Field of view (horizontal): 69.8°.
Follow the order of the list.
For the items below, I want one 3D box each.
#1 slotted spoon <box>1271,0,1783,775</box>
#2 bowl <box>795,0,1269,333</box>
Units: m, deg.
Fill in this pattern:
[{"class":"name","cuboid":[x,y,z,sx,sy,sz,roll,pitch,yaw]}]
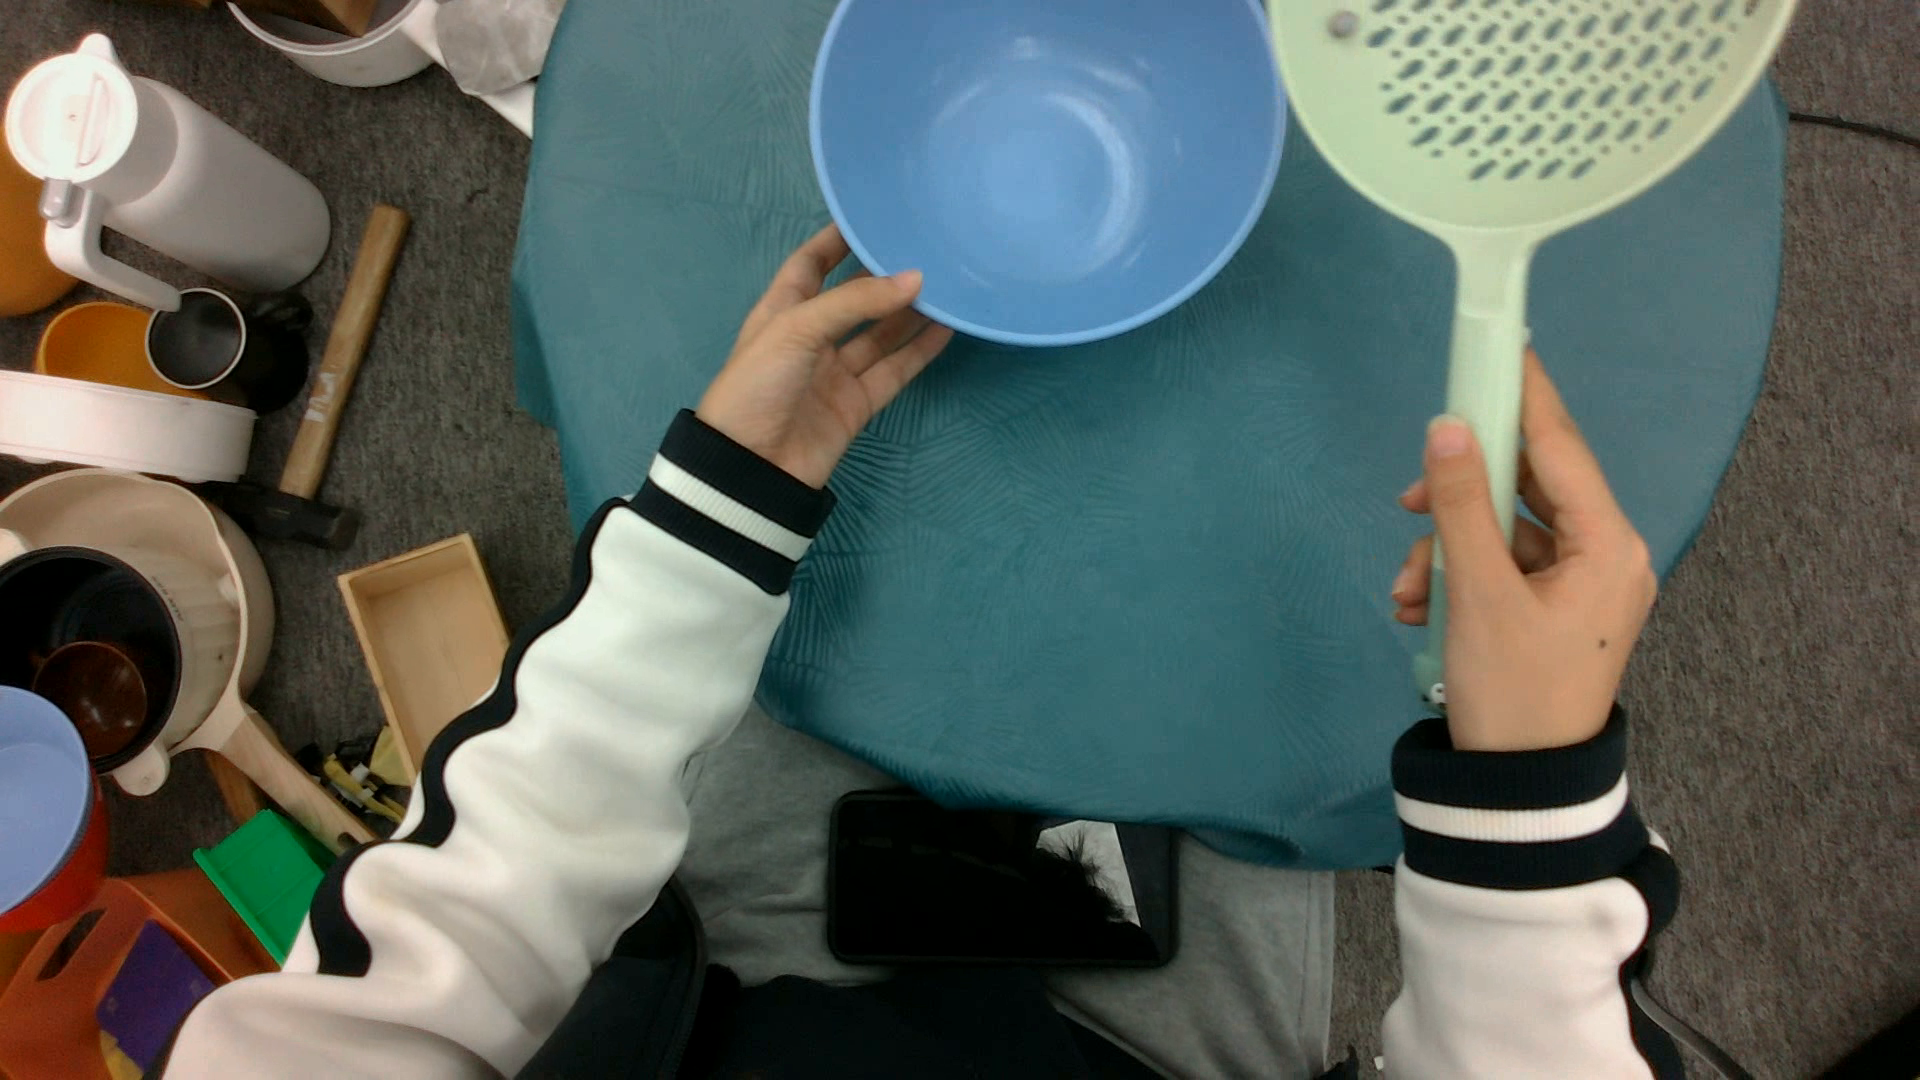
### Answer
[{"class":"slotted spoon","cuboid":[0.178,-0.090,0.465,0.169,0.075,0.358,13,98,45]},{"class":"bowl","cuboid":[0.030,-0.179,0.615,0.196,0.095,0.196,0,85,1]}]
